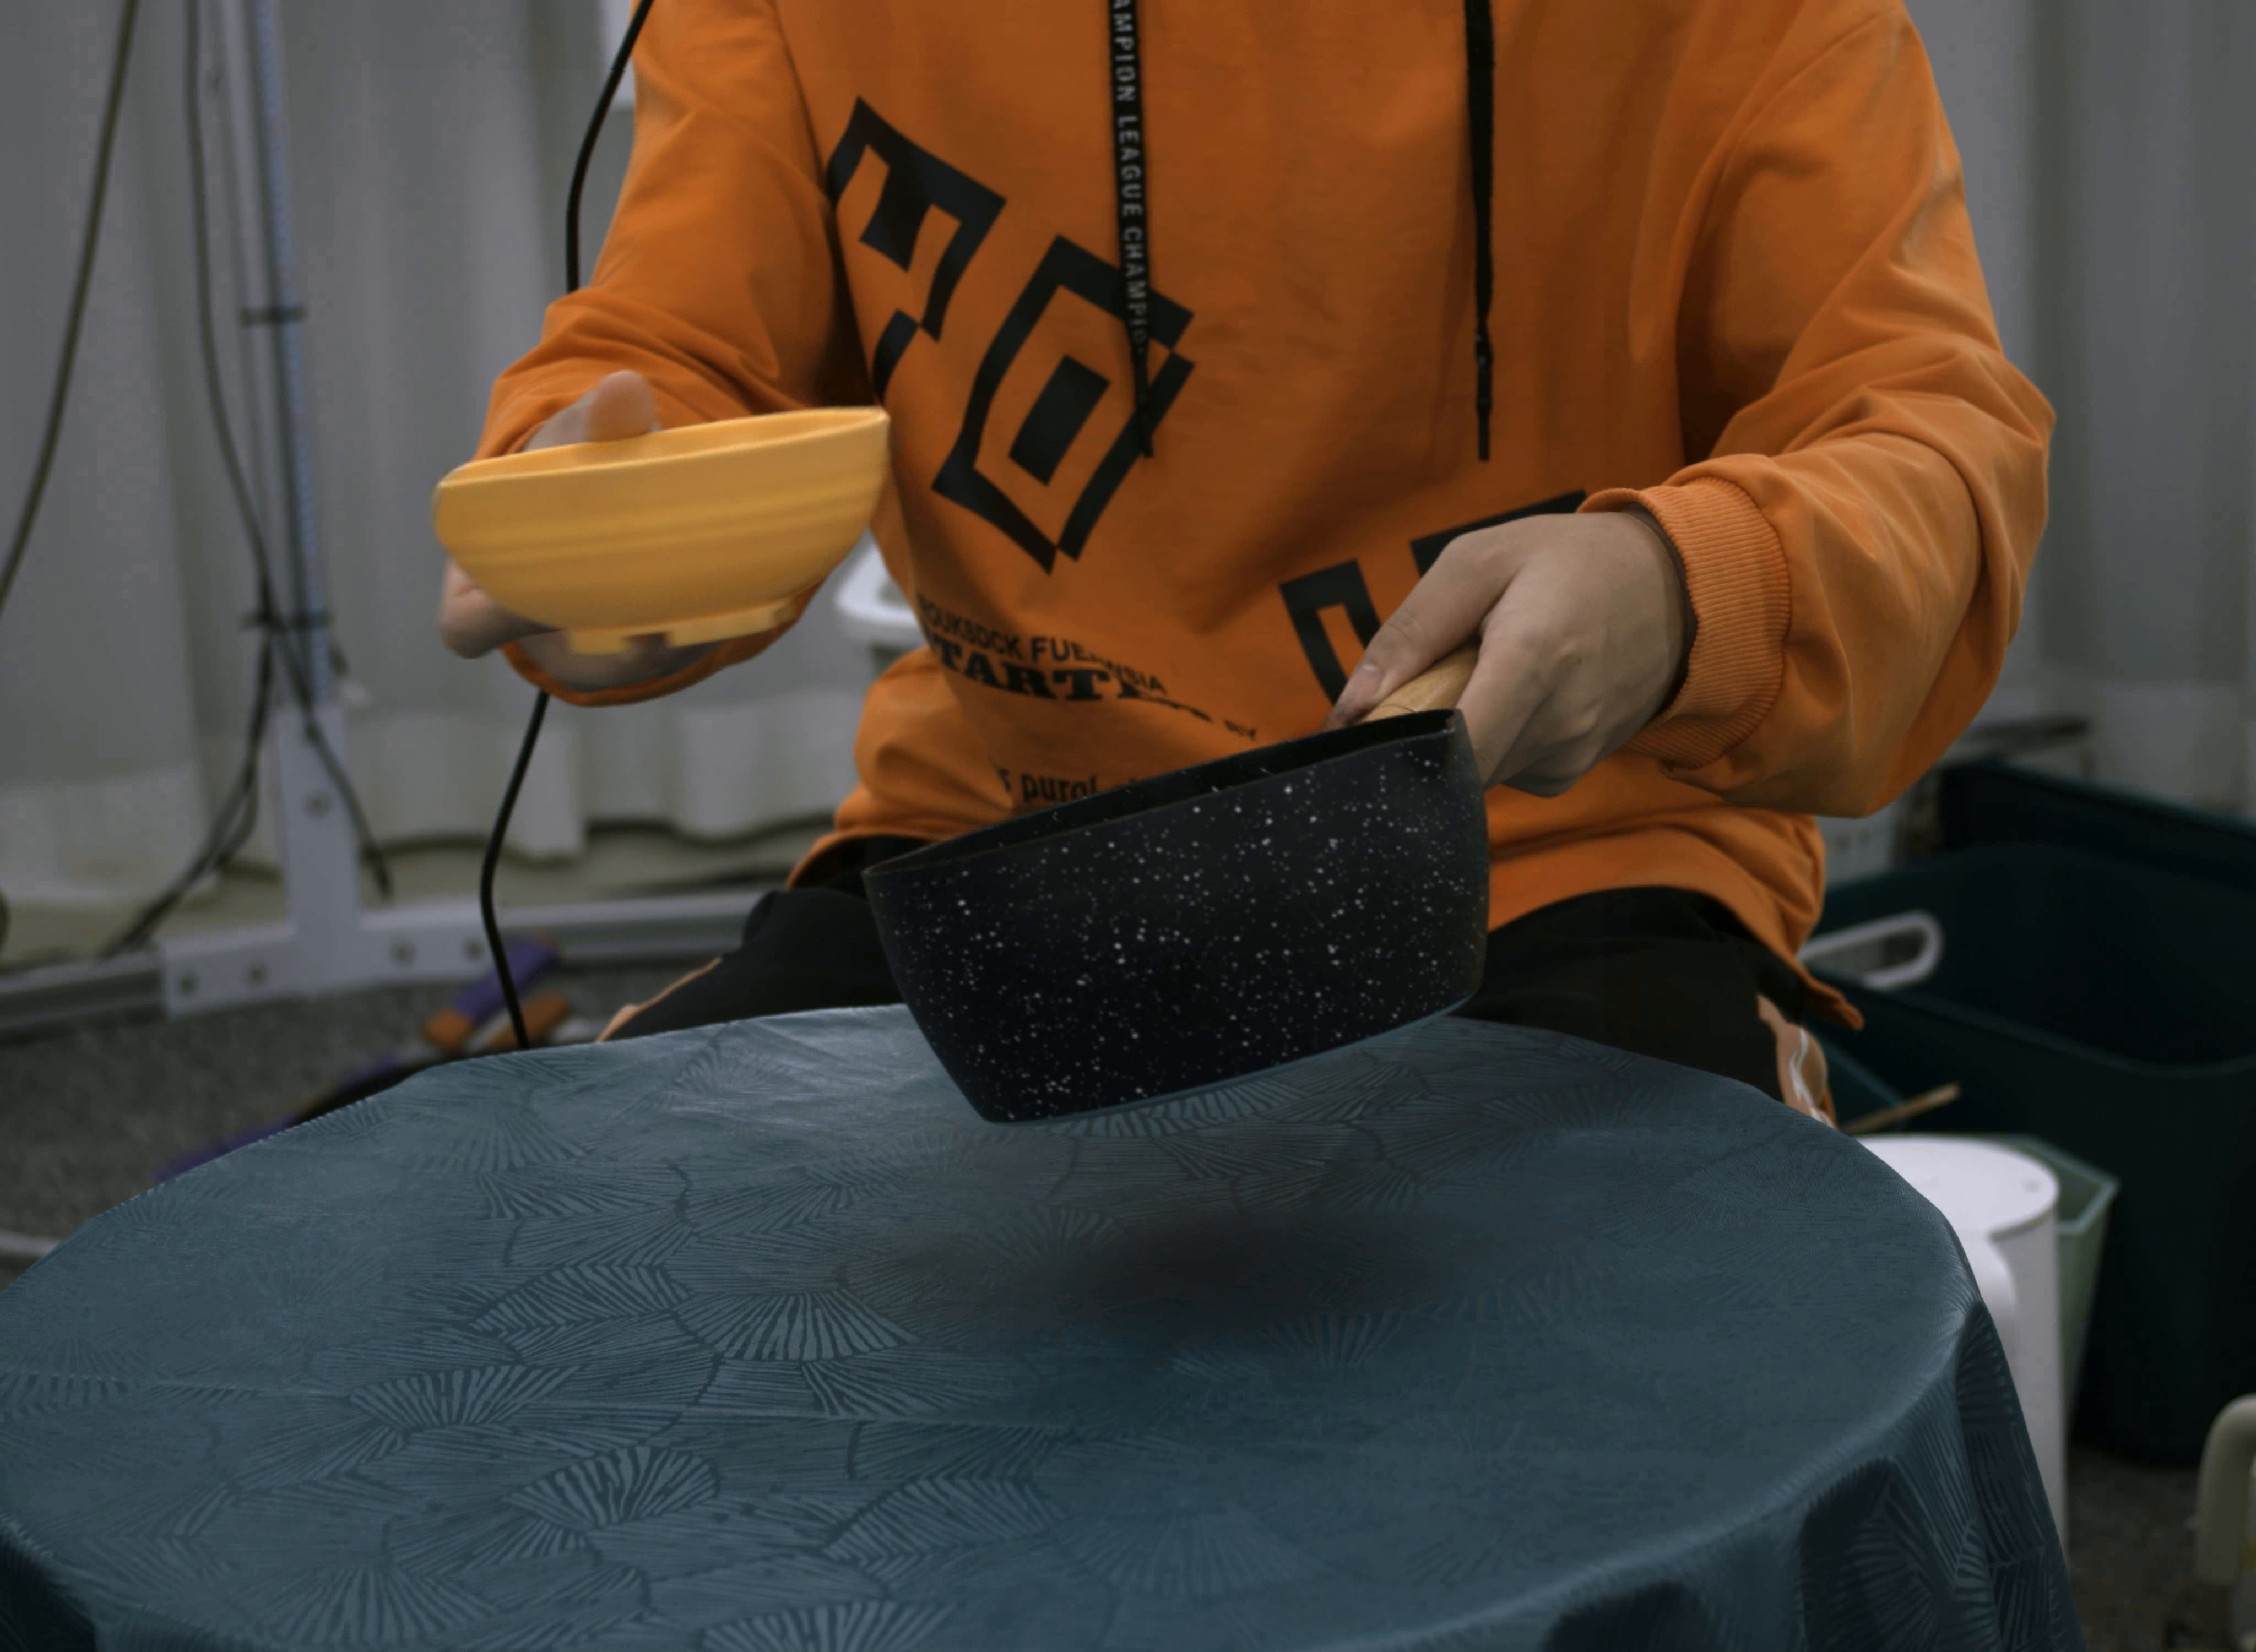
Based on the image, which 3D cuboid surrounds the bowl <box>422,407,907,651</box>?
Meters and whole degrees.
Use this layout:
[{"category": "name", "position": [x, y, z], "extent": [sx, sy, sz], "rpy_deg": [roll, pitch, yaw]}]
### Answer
[{"category": "bowl", "position": [-0.134, -0.086, 1.629], "extent": [0.145, 0.060, 0.146], "rpy_deg": [-8, 7, 1]}]

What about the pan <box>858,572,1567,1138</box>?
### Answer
[{"category": "pan", "position": [0.057, 0.003, 1.681], "extent": [0.207, 0.108, 0.343], "rpy_deg": [-15, 4, 33]}]
